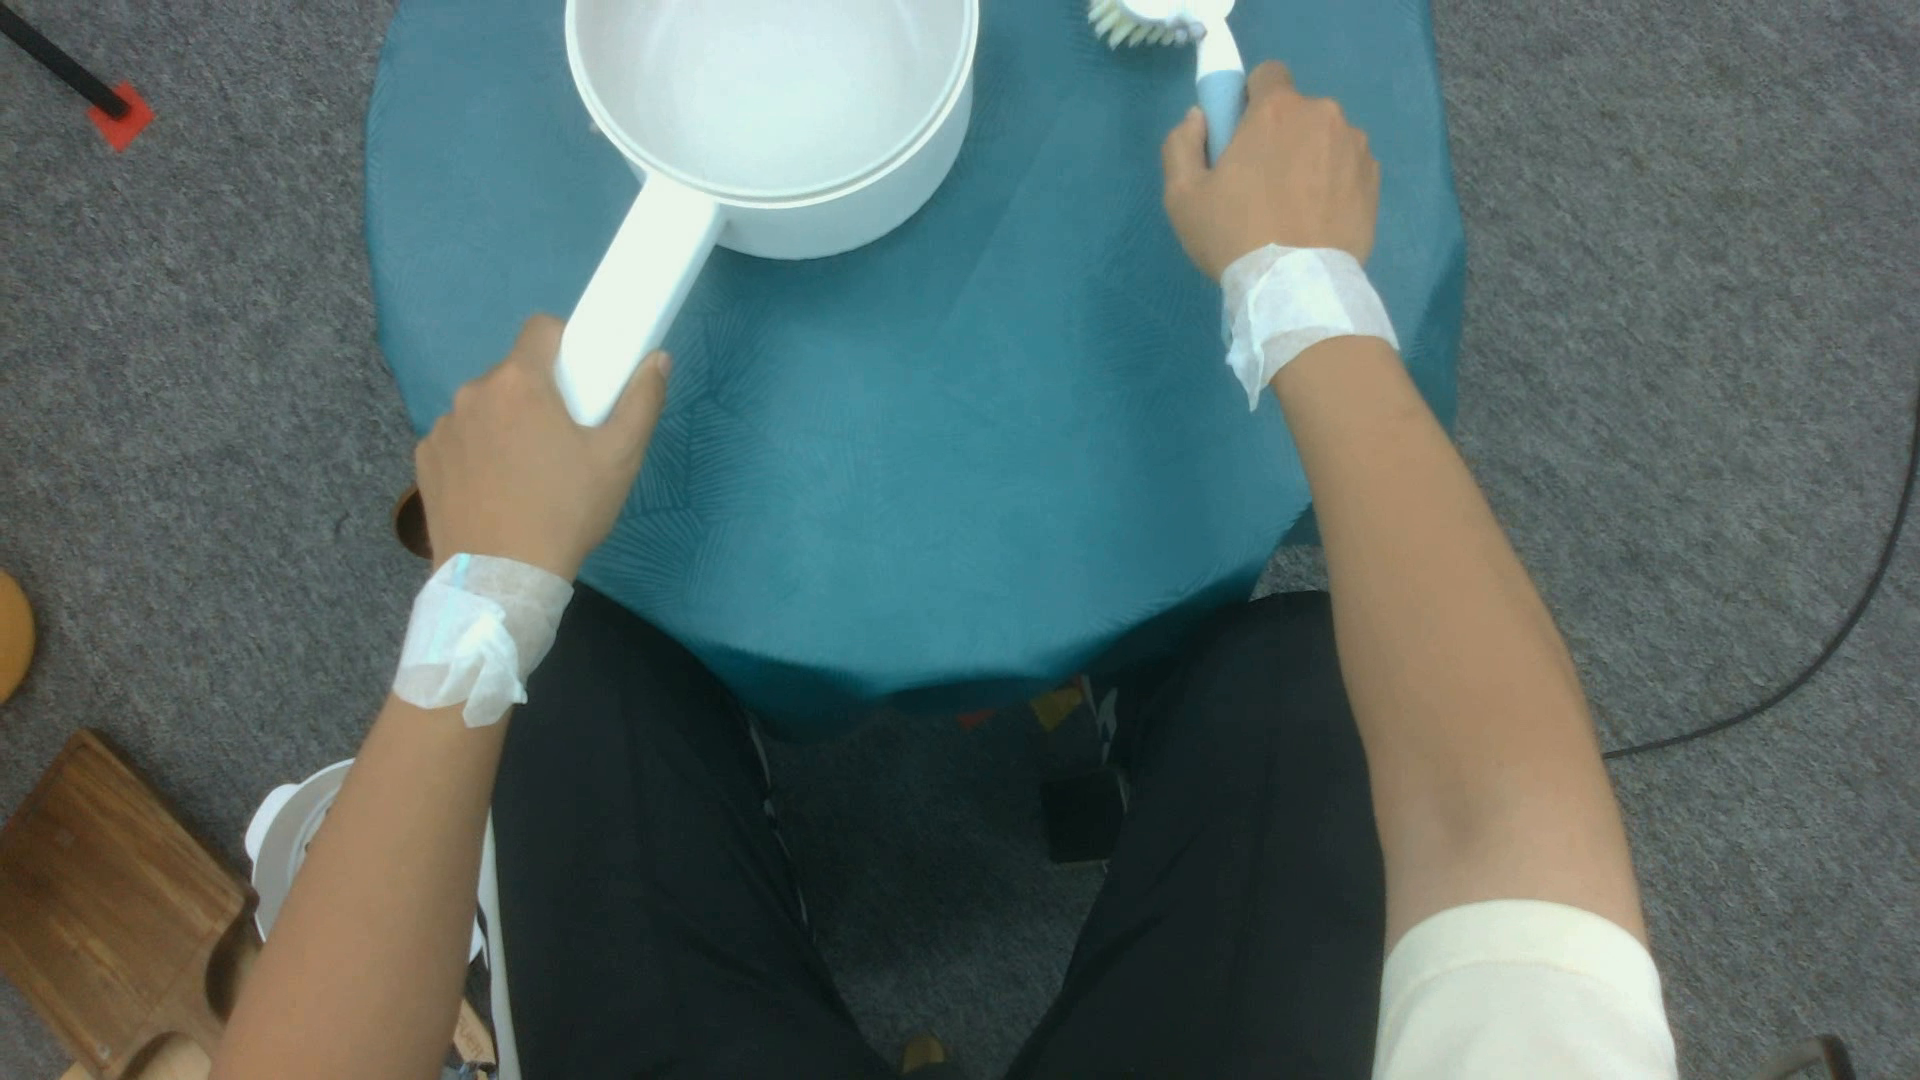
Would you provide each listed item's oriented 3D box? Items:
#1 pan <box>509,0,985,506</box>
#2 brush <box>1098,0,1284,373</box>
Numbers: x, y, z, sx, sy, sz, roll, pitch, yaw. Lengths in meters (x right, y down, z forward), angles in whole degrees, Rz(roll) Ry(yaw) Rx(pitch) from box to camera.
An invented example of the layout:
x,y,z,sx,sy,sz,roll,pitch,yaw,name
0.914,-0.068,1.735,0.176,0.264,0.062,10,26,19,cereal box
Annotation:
x,y,z,sx,sy,sz,roll,pitch,yaw,name
-0.119,-0.176,0.721,0.201,0.102,0.355,24,80,6,pan
0.119,-0.233,0.738,0.083,0.084,0.326,-12,75,24,brush
